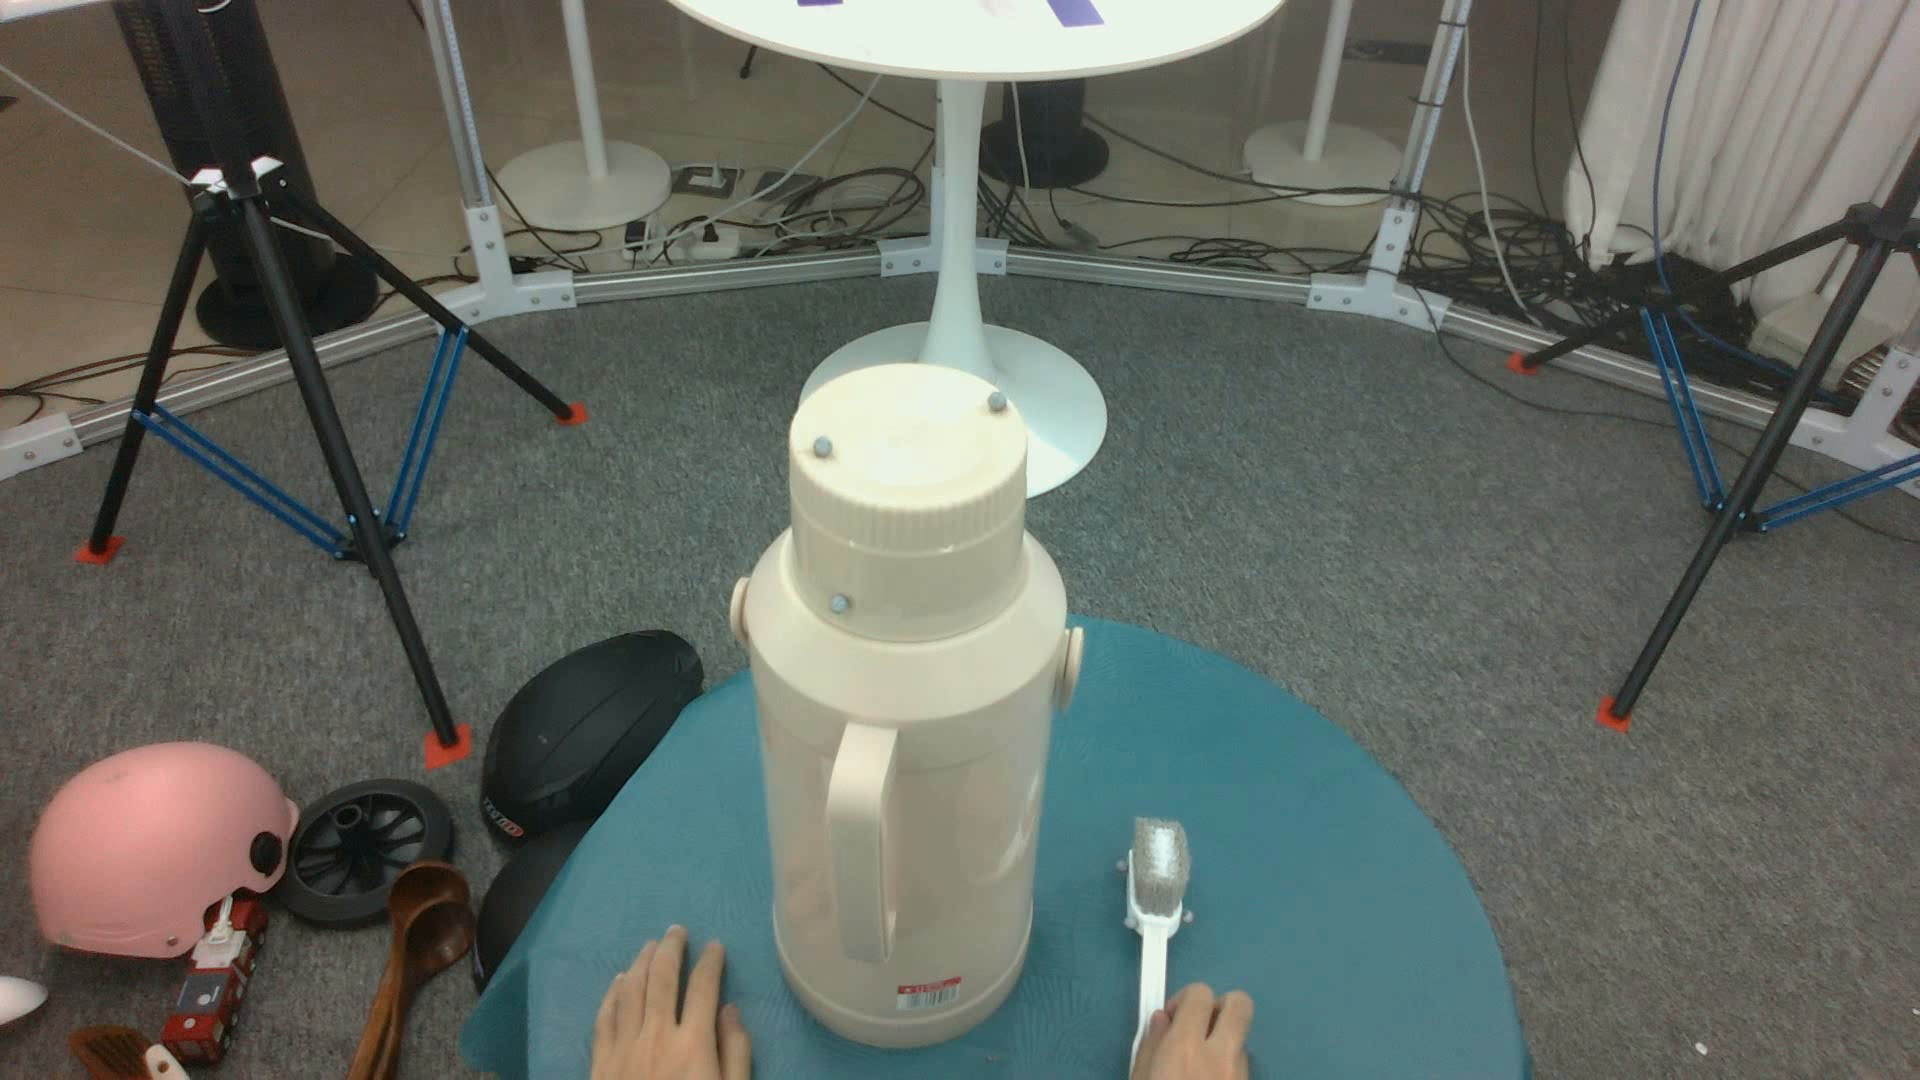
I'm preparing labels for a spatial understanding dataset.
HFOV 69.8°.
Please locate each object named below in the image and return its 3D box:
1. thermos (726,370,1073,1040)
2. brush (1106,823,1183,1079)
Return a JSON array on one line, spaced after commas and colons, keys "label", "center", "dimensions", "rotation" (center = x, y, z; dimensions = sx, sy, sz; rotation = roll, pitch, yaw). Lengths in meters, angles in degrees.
[{"label": "thermos", "center": [-0.038, 0.111, 0.735], "dimensions": [0.175, 0.404, 0.208], "rotation": [9, 43, 4]}, {"label": "brush", "center": [0.107, 0.274, 0.822], "dimensions": [0.034, 0.050, 0.245], "rotation": [14, 43, 2]}]
